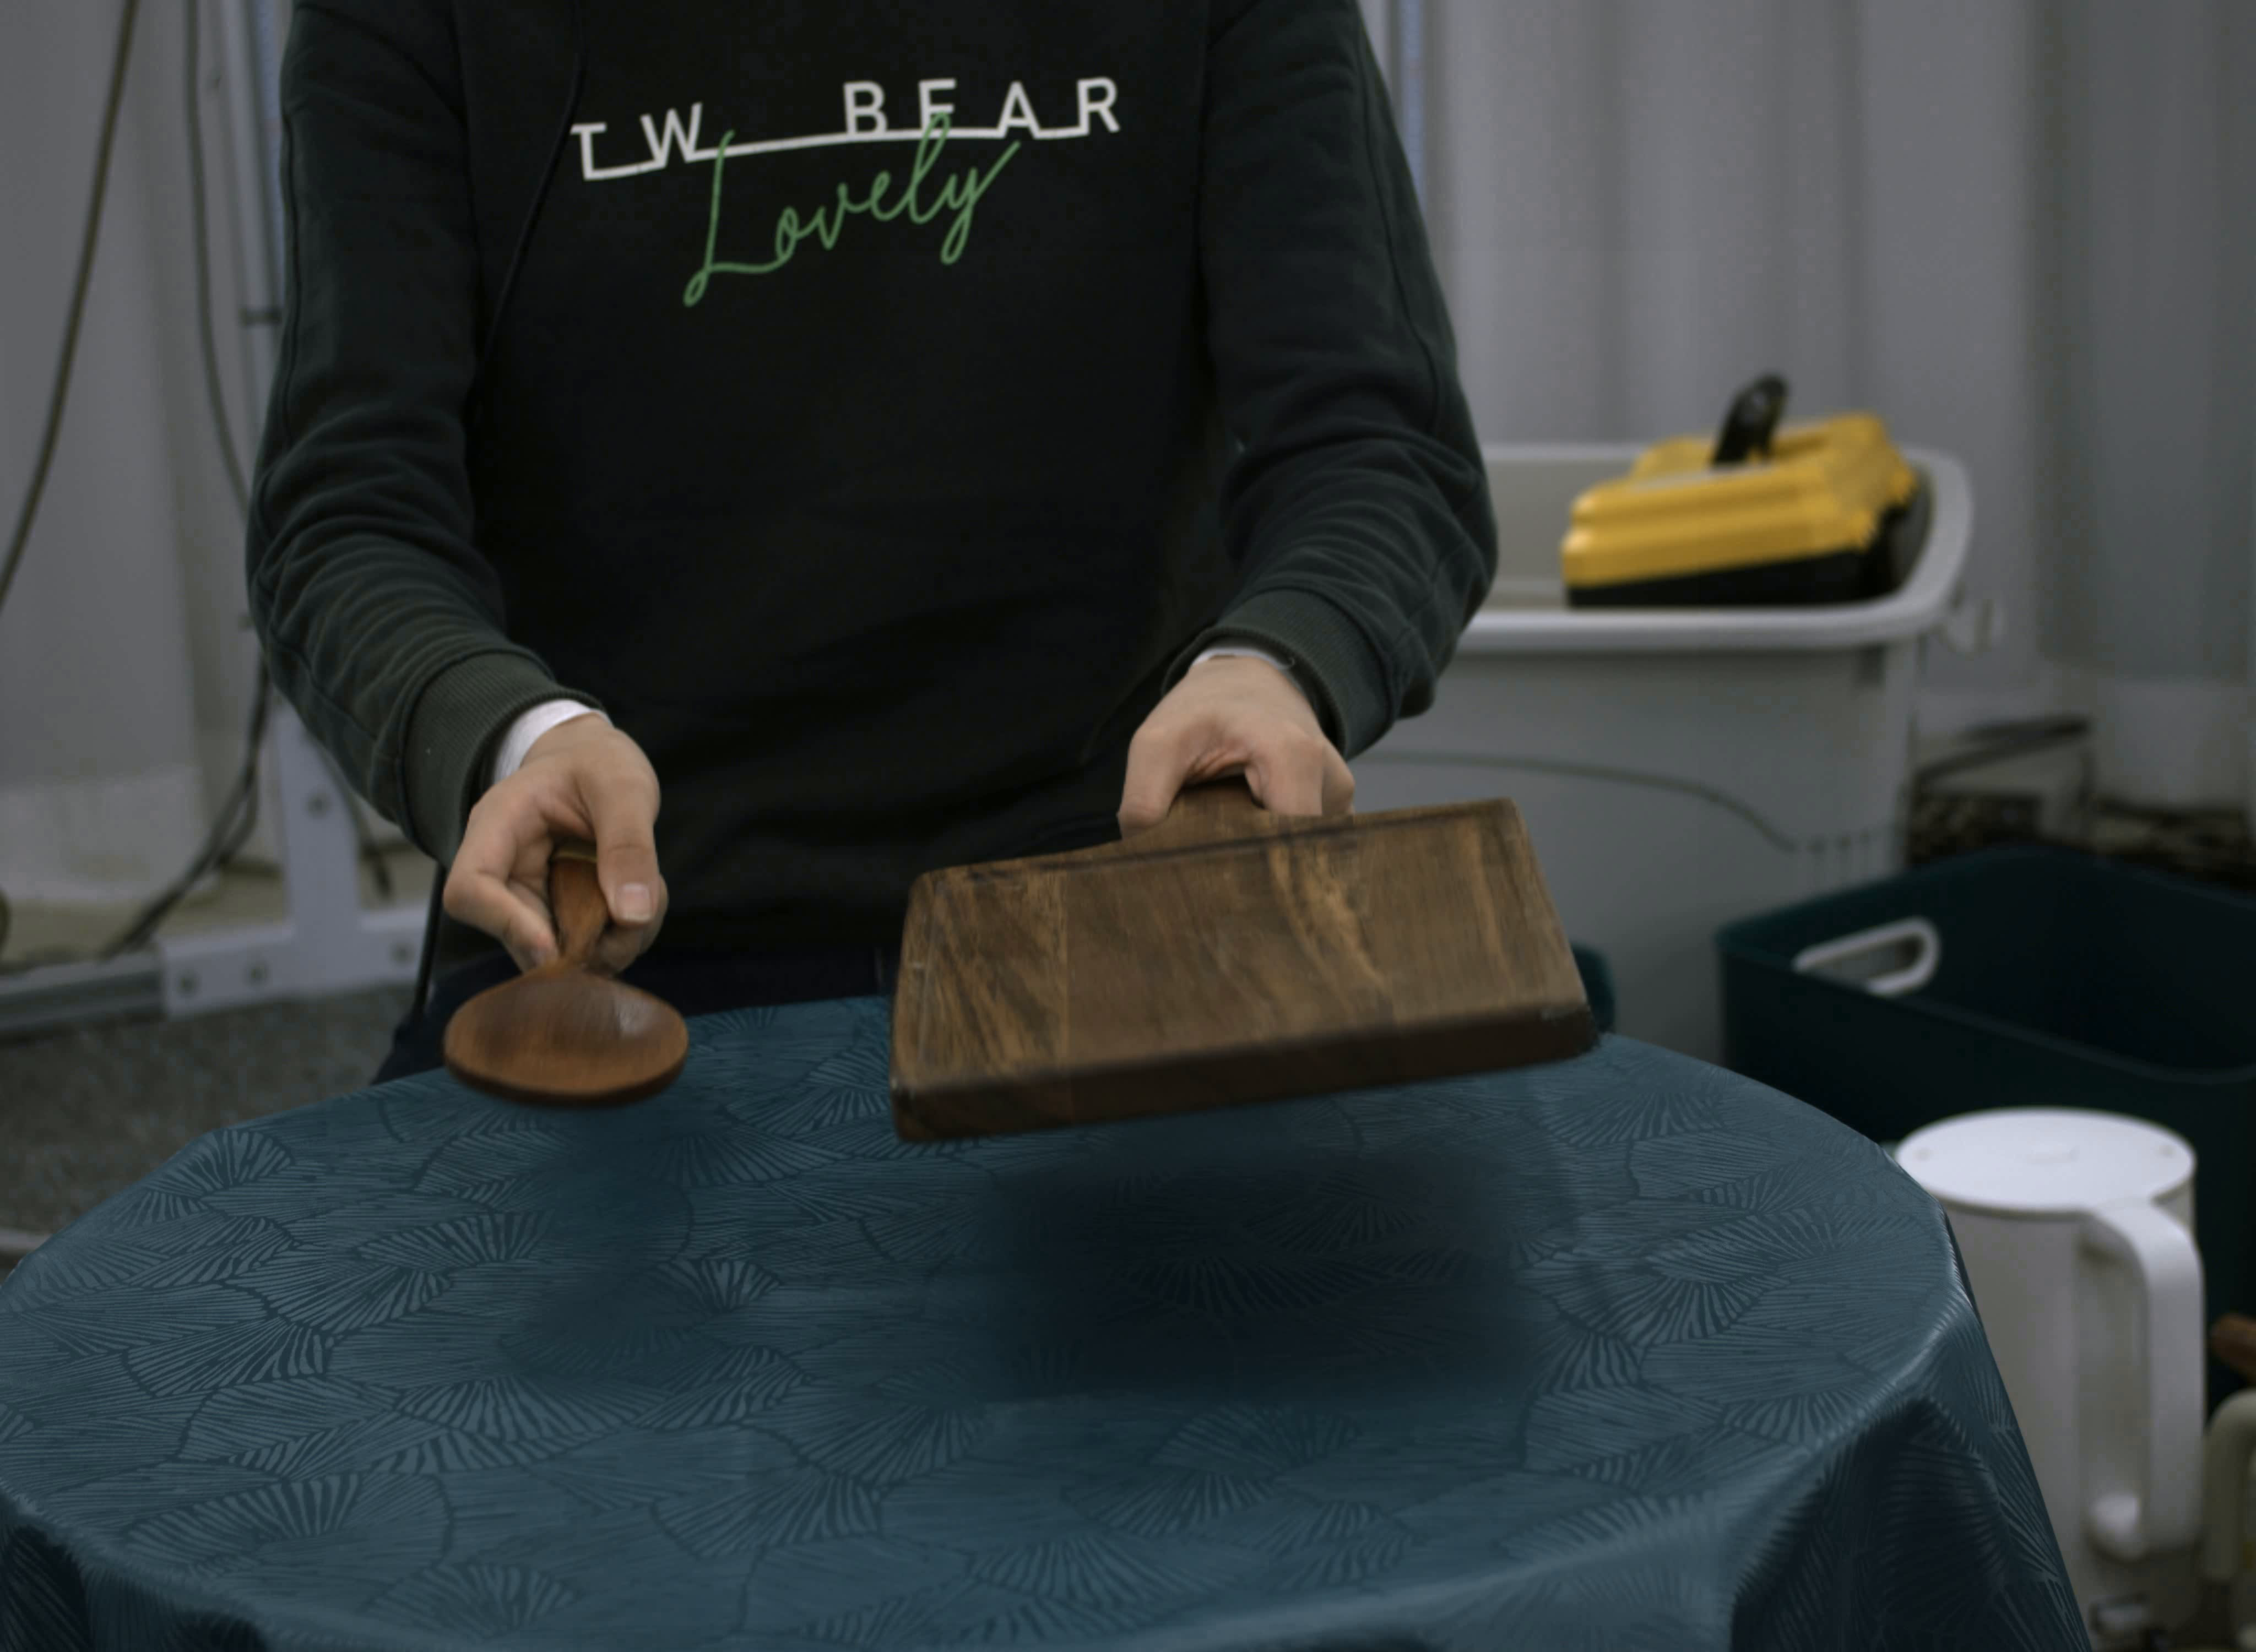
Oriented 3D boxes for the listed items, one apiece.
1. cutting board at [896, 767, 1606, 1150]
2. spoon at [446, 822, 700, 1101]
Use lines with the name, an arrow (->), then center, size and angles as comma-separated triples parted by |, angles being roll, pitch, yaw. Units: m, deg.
cutting board -> 0.030, 0.028, 1.671 | 0.200, 0.023, 0.354 | -9, 13, 1
spoon -> -0.168, 0.043, 1.684 | 0.075, 0.017, 0.218 | 0, 20, -3
